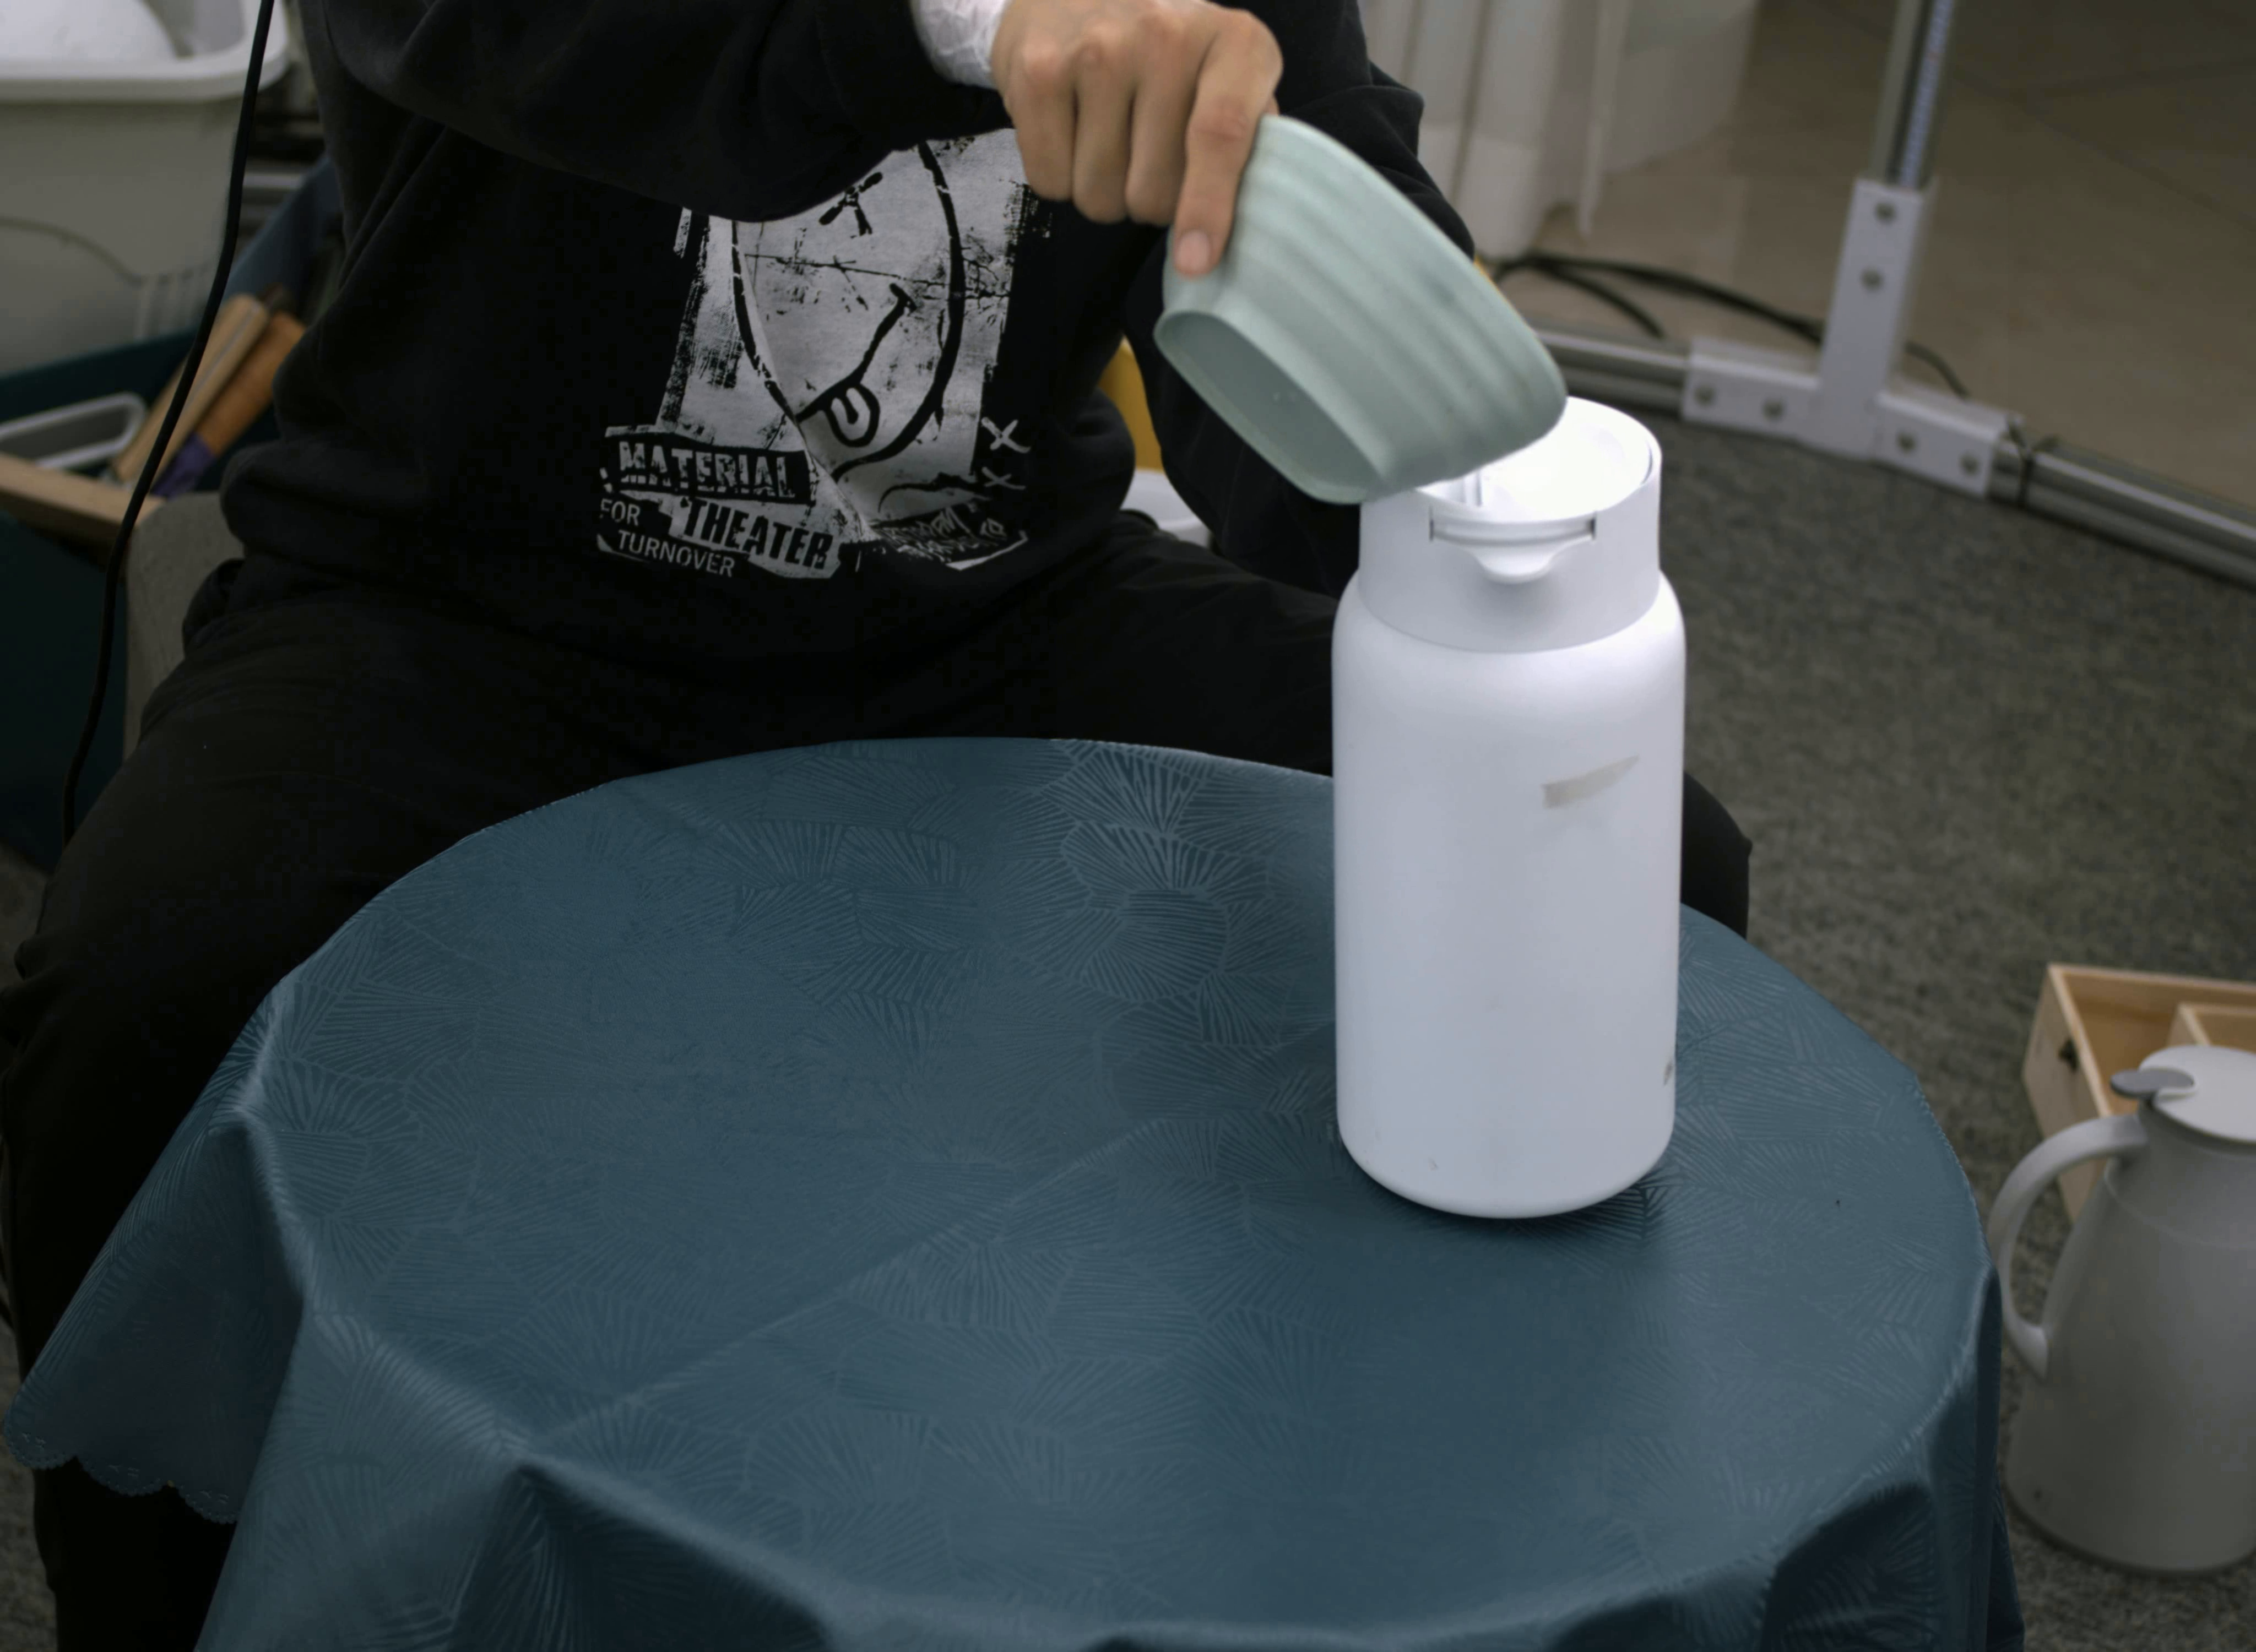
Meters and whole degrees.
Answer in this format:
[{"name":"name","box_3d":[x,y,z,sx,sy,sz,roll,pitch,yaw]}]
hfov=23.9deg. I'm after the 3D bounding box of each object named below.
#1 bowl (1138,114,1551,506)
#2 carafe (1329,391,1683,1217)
[{"name":"bowl","box_3d":[0.056,-0.149,1.643,0.152,0.150,0.058,31,74,38]},{"name":"carafe","box_3d":[0.125,-0.016,1.802,0.123,0.267,0.174,-3,29,2]}]
